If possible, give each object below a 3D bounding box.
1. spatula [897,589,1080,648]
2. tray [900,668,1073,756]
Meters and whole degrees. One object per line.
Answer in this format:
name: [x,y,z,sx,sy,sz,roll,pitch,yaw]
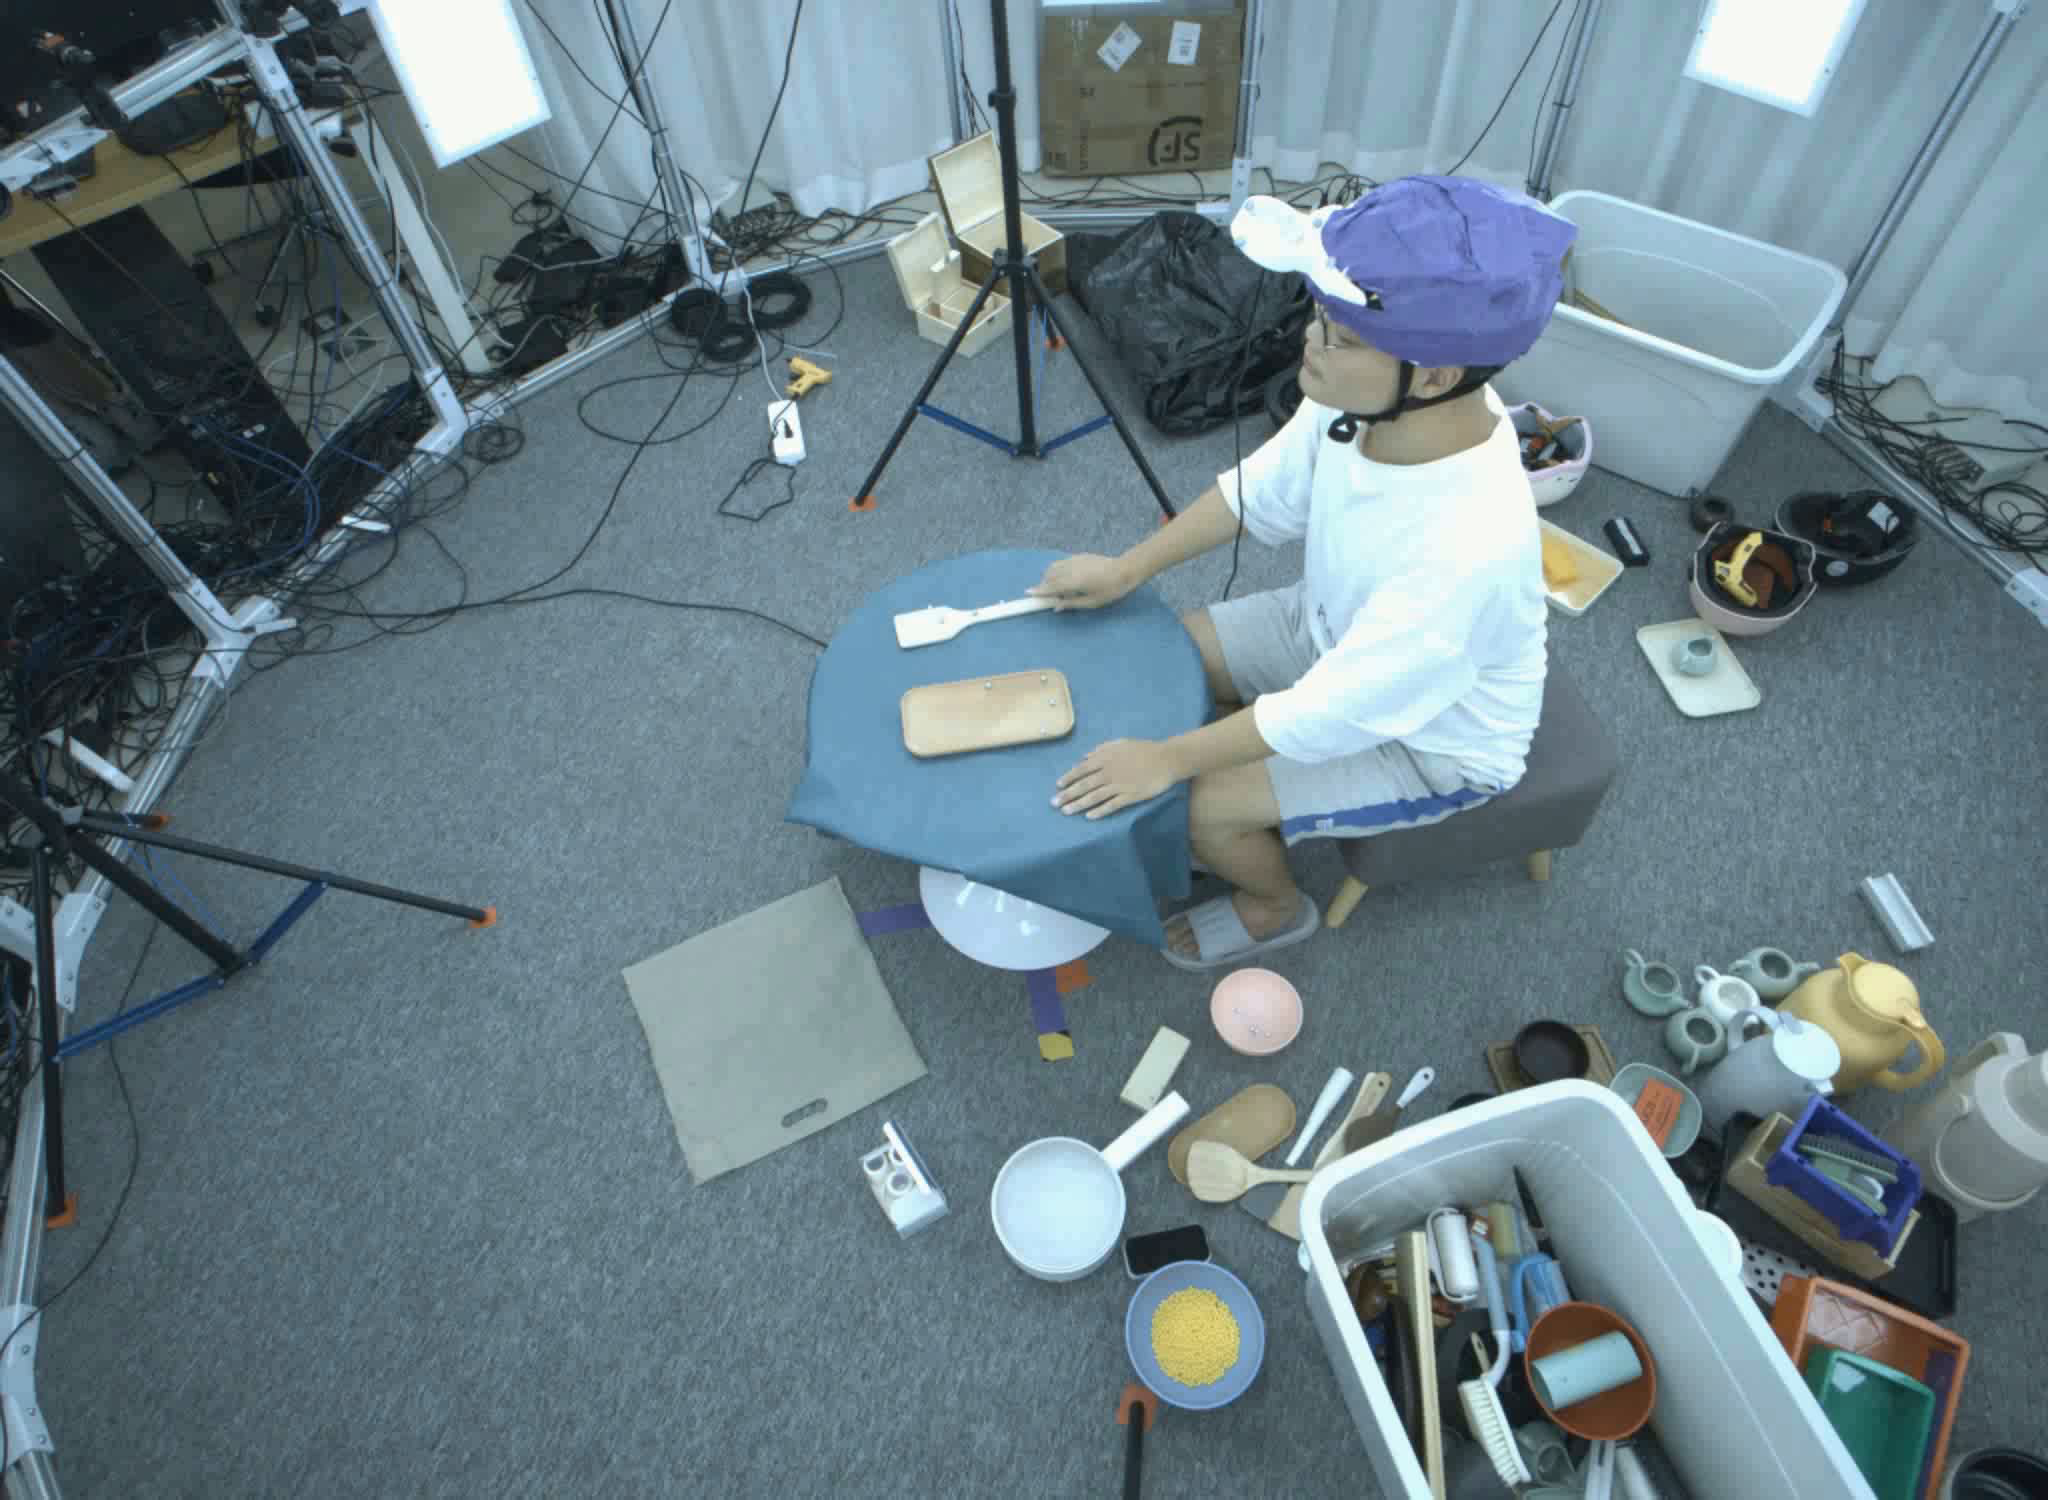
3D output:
spatula: [-0.054,-0.216,1.935,0.294,0.011,0.071,-13,54,-7]
tray: [-0.056,-0.056,1.817,0.251,0.023,0.129,-7,52,-3]
